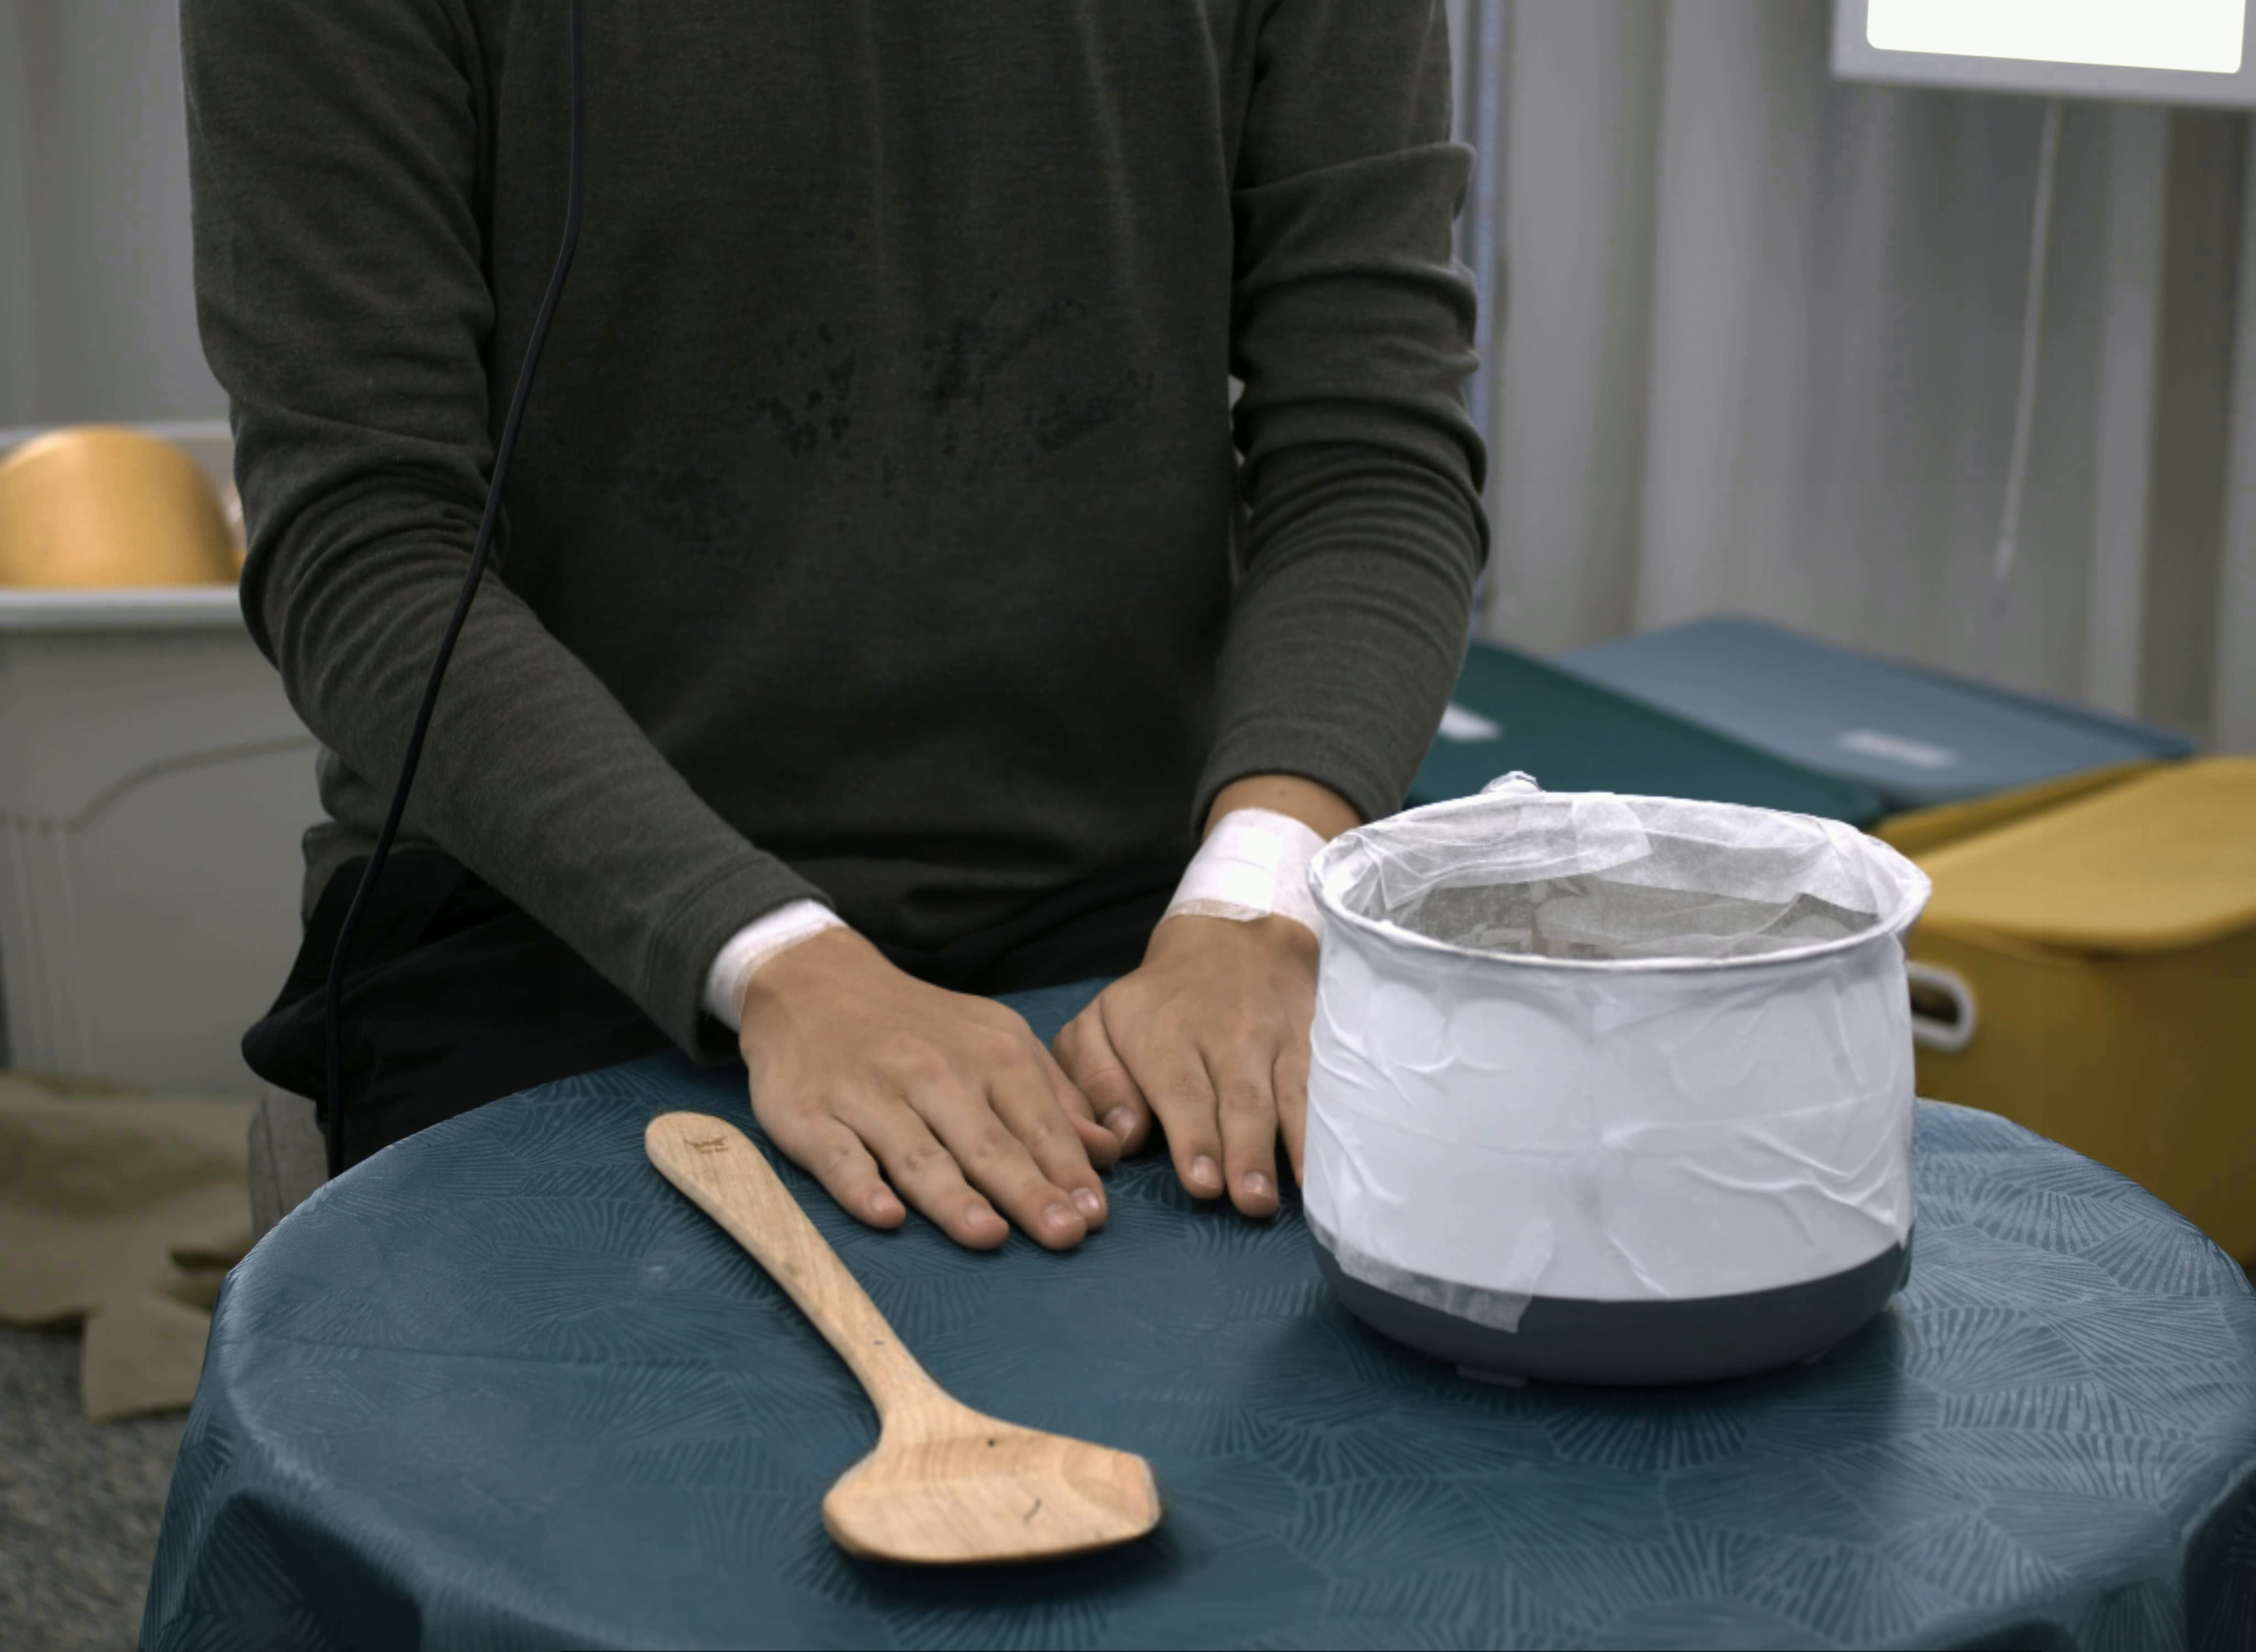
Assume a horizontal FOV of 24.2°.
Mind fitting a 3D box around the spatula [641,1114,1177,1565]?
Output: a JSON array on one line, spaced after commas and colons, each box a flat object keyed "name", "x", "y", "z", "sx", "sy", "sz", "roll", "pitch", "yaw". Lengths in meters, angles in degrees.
[{"name": "spatula", "x": -0.087, "y": 0.139, "z": 1.491, "sx": 0.096, "sy": 0.018, "sz": 0.386, "roll": -3, "pitch": 16, "yaw": -19}]

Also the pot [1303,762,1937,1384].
[{"name": "pot", "x": 0.132, "y": 0.066, "z": 1.534, "sx": 0.179, "sy": 0.138, "sz": 0.231, "roll": -3, "pitch": 16, "yaw": -14}]
